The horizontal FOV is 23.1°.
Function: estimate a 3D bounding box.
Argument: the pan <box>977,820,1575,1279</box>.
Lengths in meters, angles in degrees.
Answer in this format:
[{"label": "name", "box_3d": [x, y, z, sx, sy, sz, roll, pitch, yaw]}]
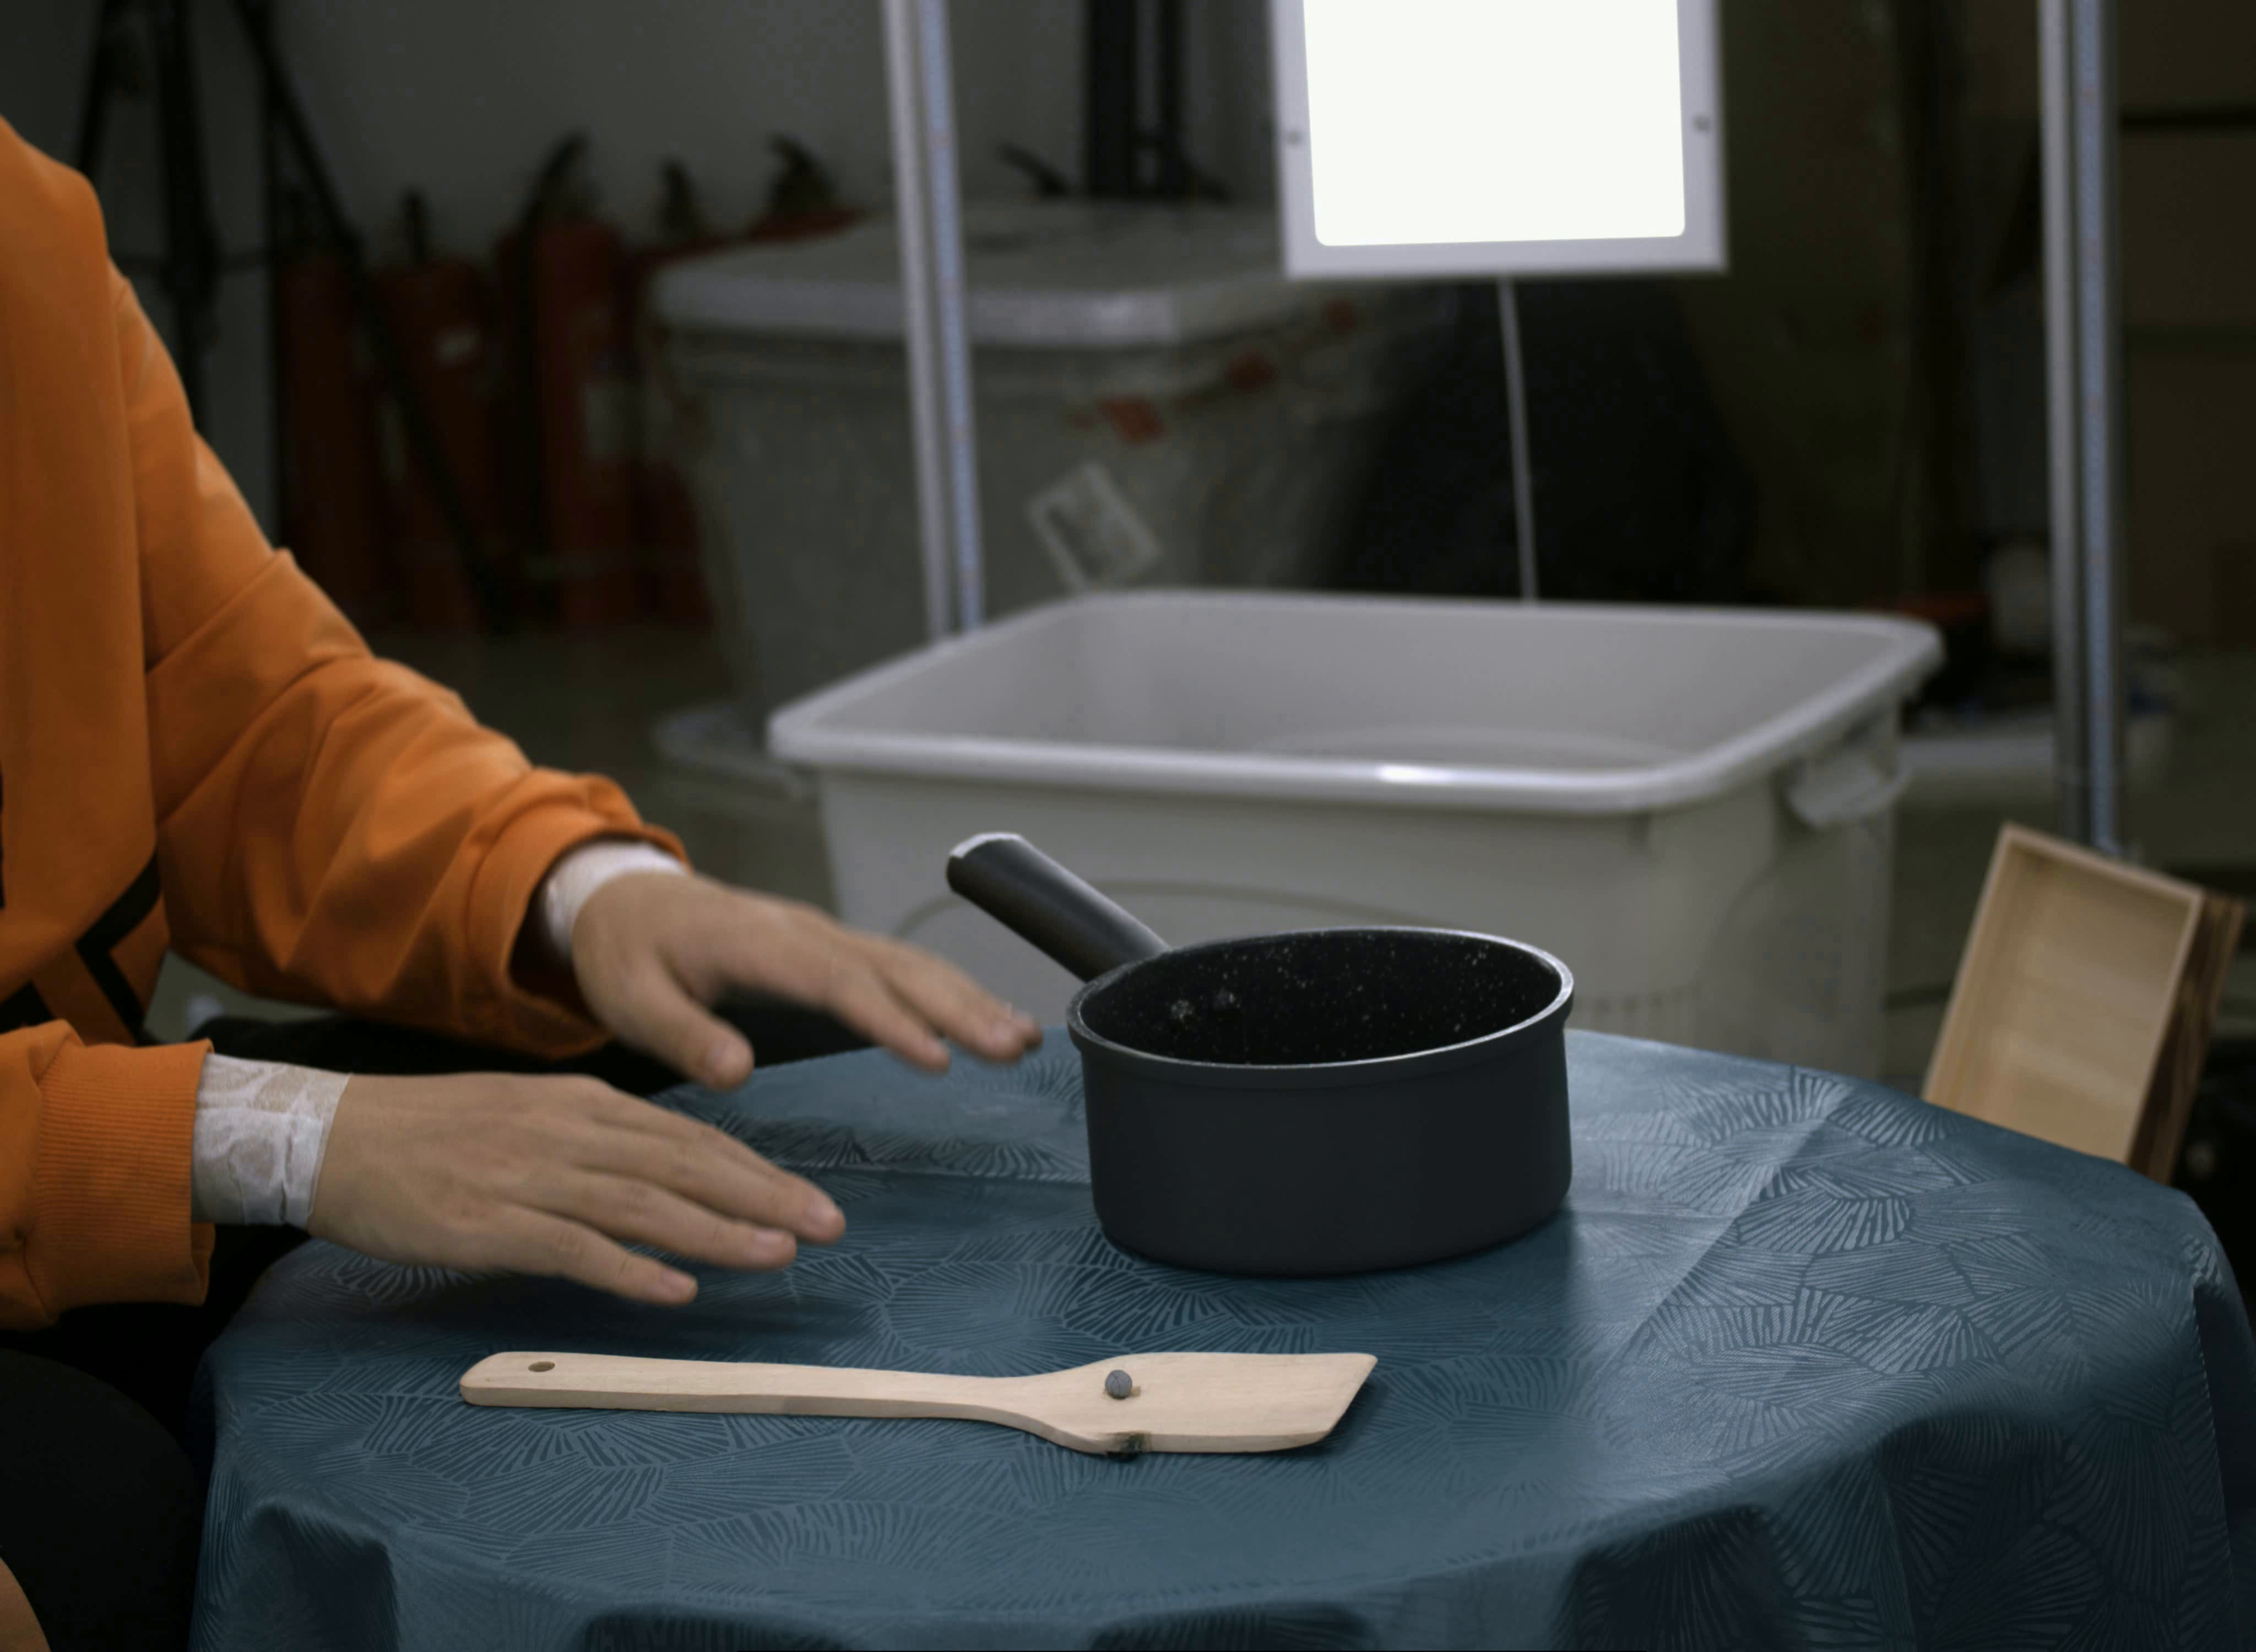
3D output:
[{"label": "pan", "box_3d": [0.031, 0.074, 1.923, 0.168, 0.087, 0.334, -10, 16, -24]}]

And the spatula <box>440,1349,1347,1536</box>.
[{"label": "spatula", "box_3d": [-0.079, 0.187, 1.712, 0.297, 0.011, 0.071, 4, 25, 20]}]
